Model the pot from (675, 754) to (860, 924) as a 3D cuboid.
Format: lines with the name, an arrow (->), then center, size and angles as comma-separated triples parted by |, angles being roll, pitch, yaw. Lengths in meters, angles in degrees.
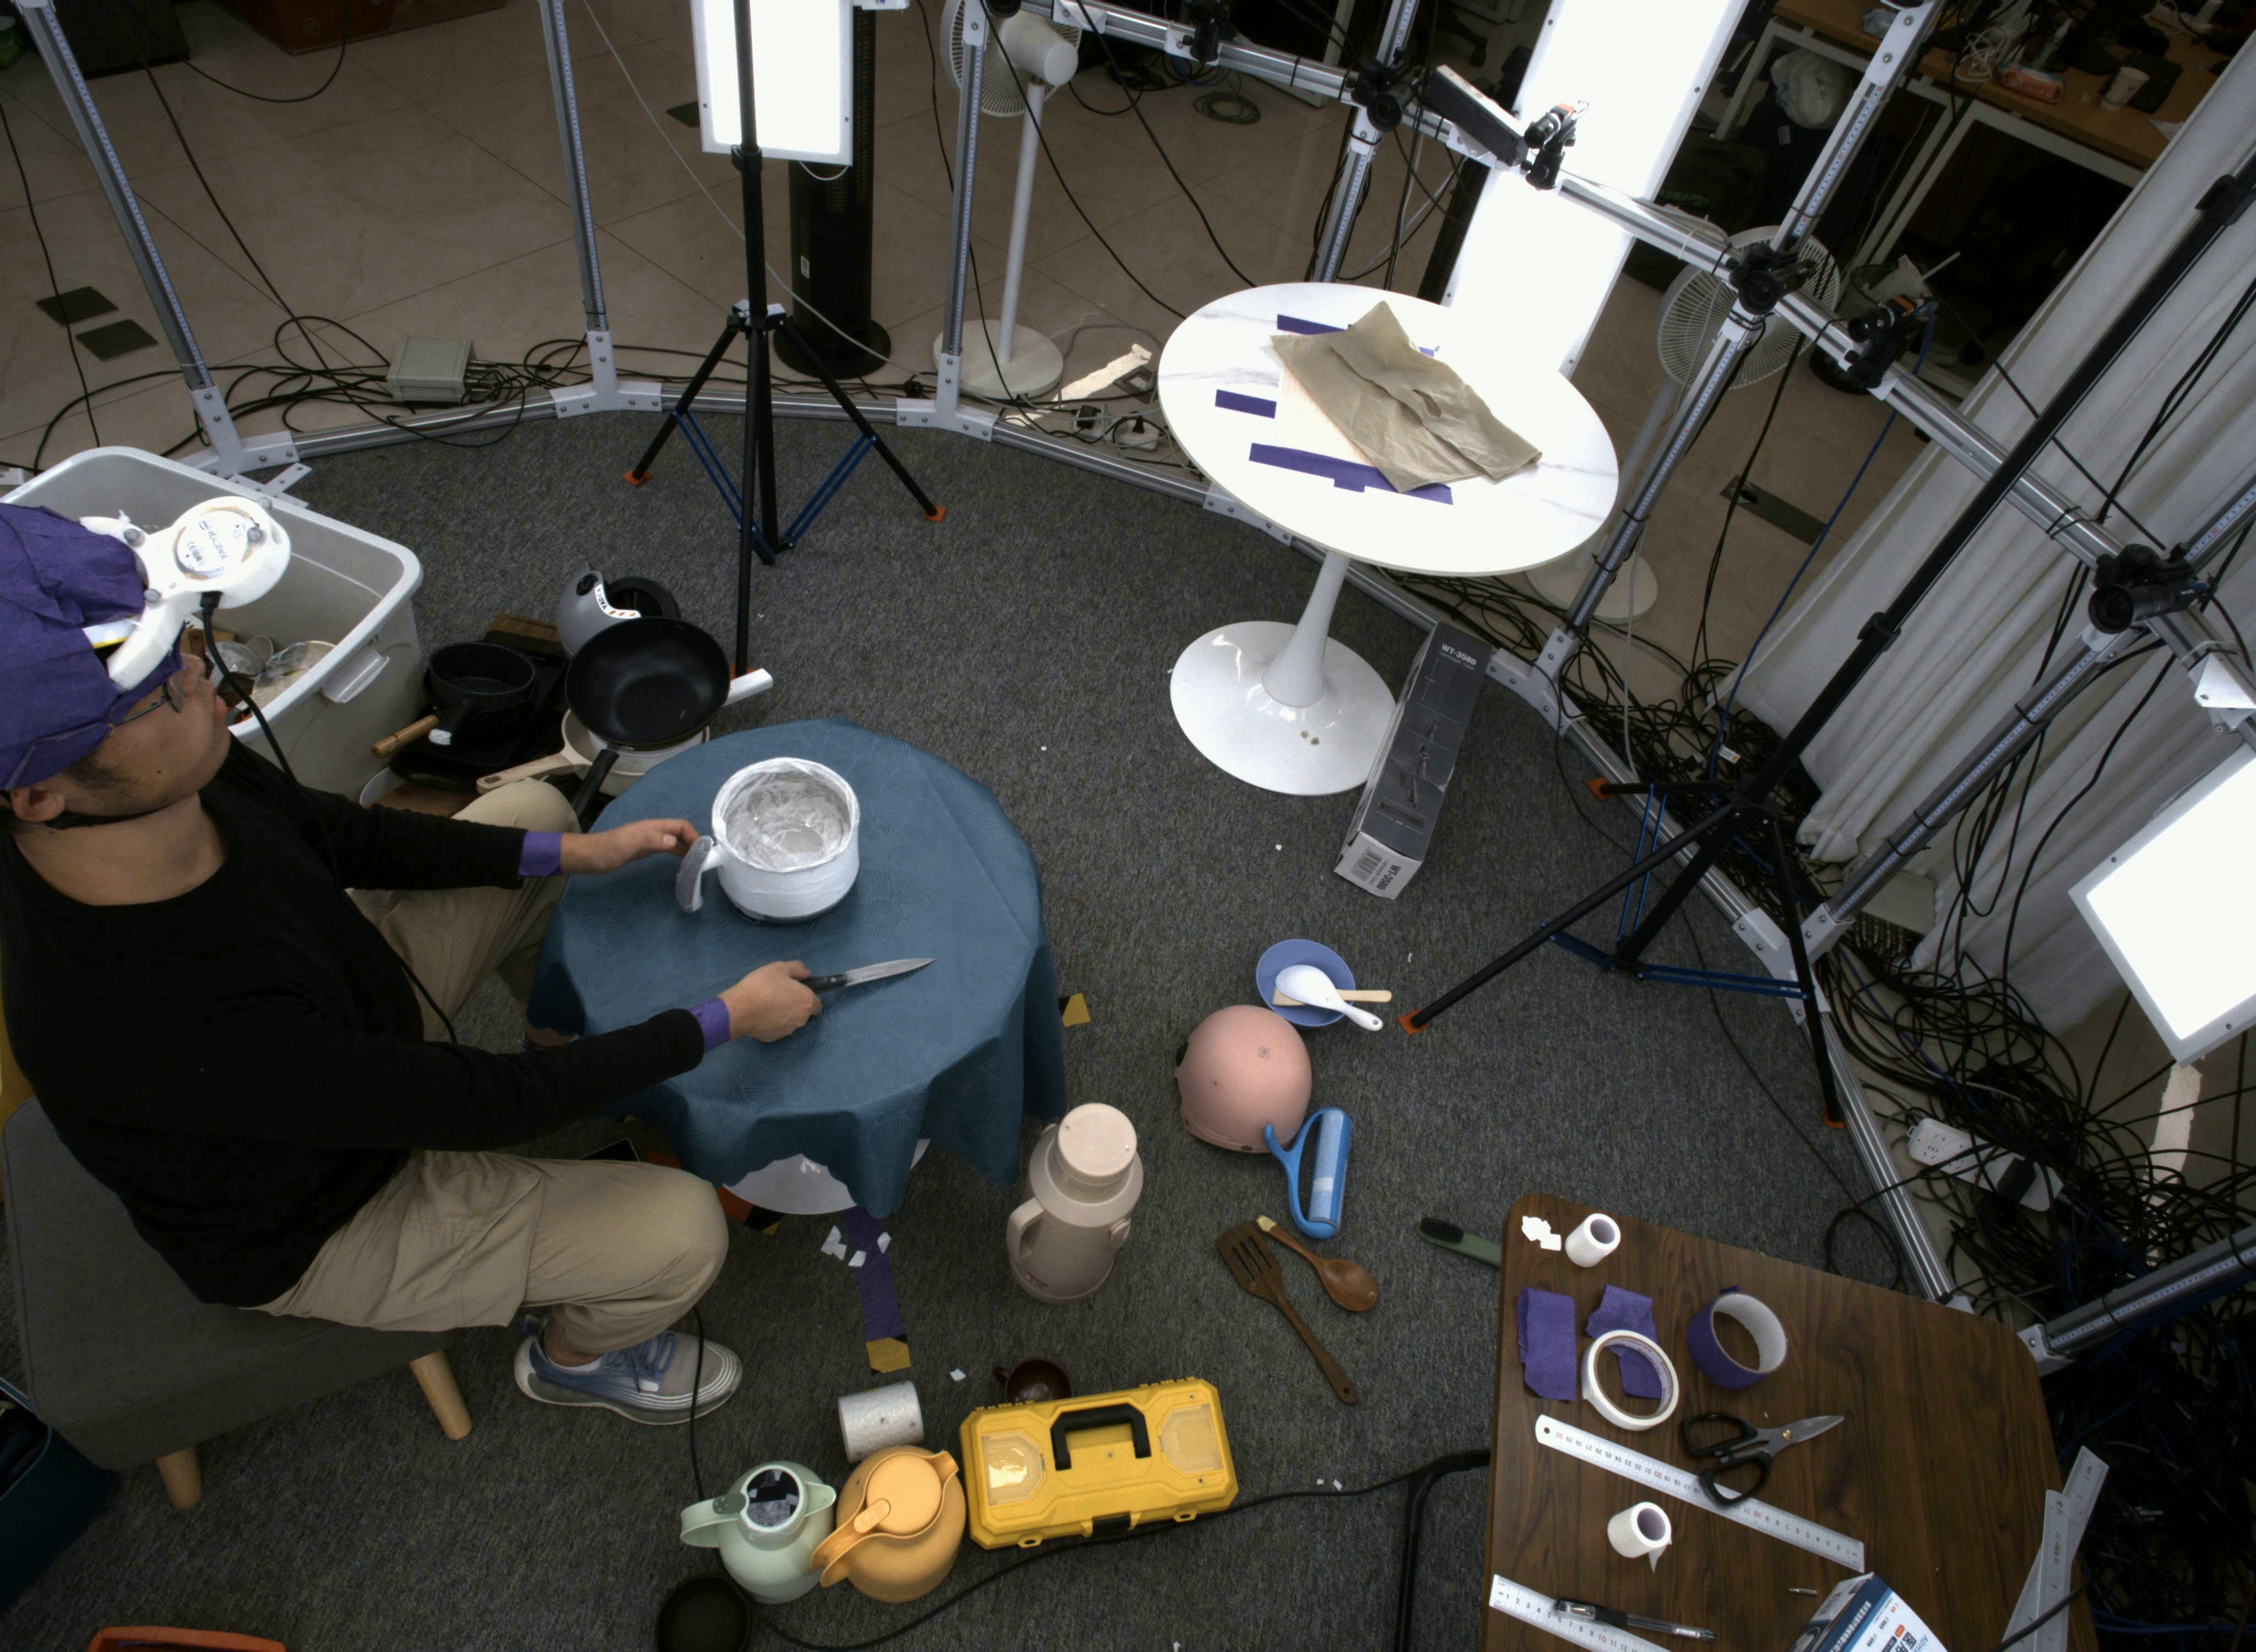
pot -> -0.448, 0.028, 1.602 | 0.235, 0.139, 0.174 | -23, 60, -29

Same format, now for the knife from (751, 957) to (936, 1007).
knife -> -0.340, 0.184, 1.579 | 0.241, 0.017, 0.023 | -10, 35, -34
